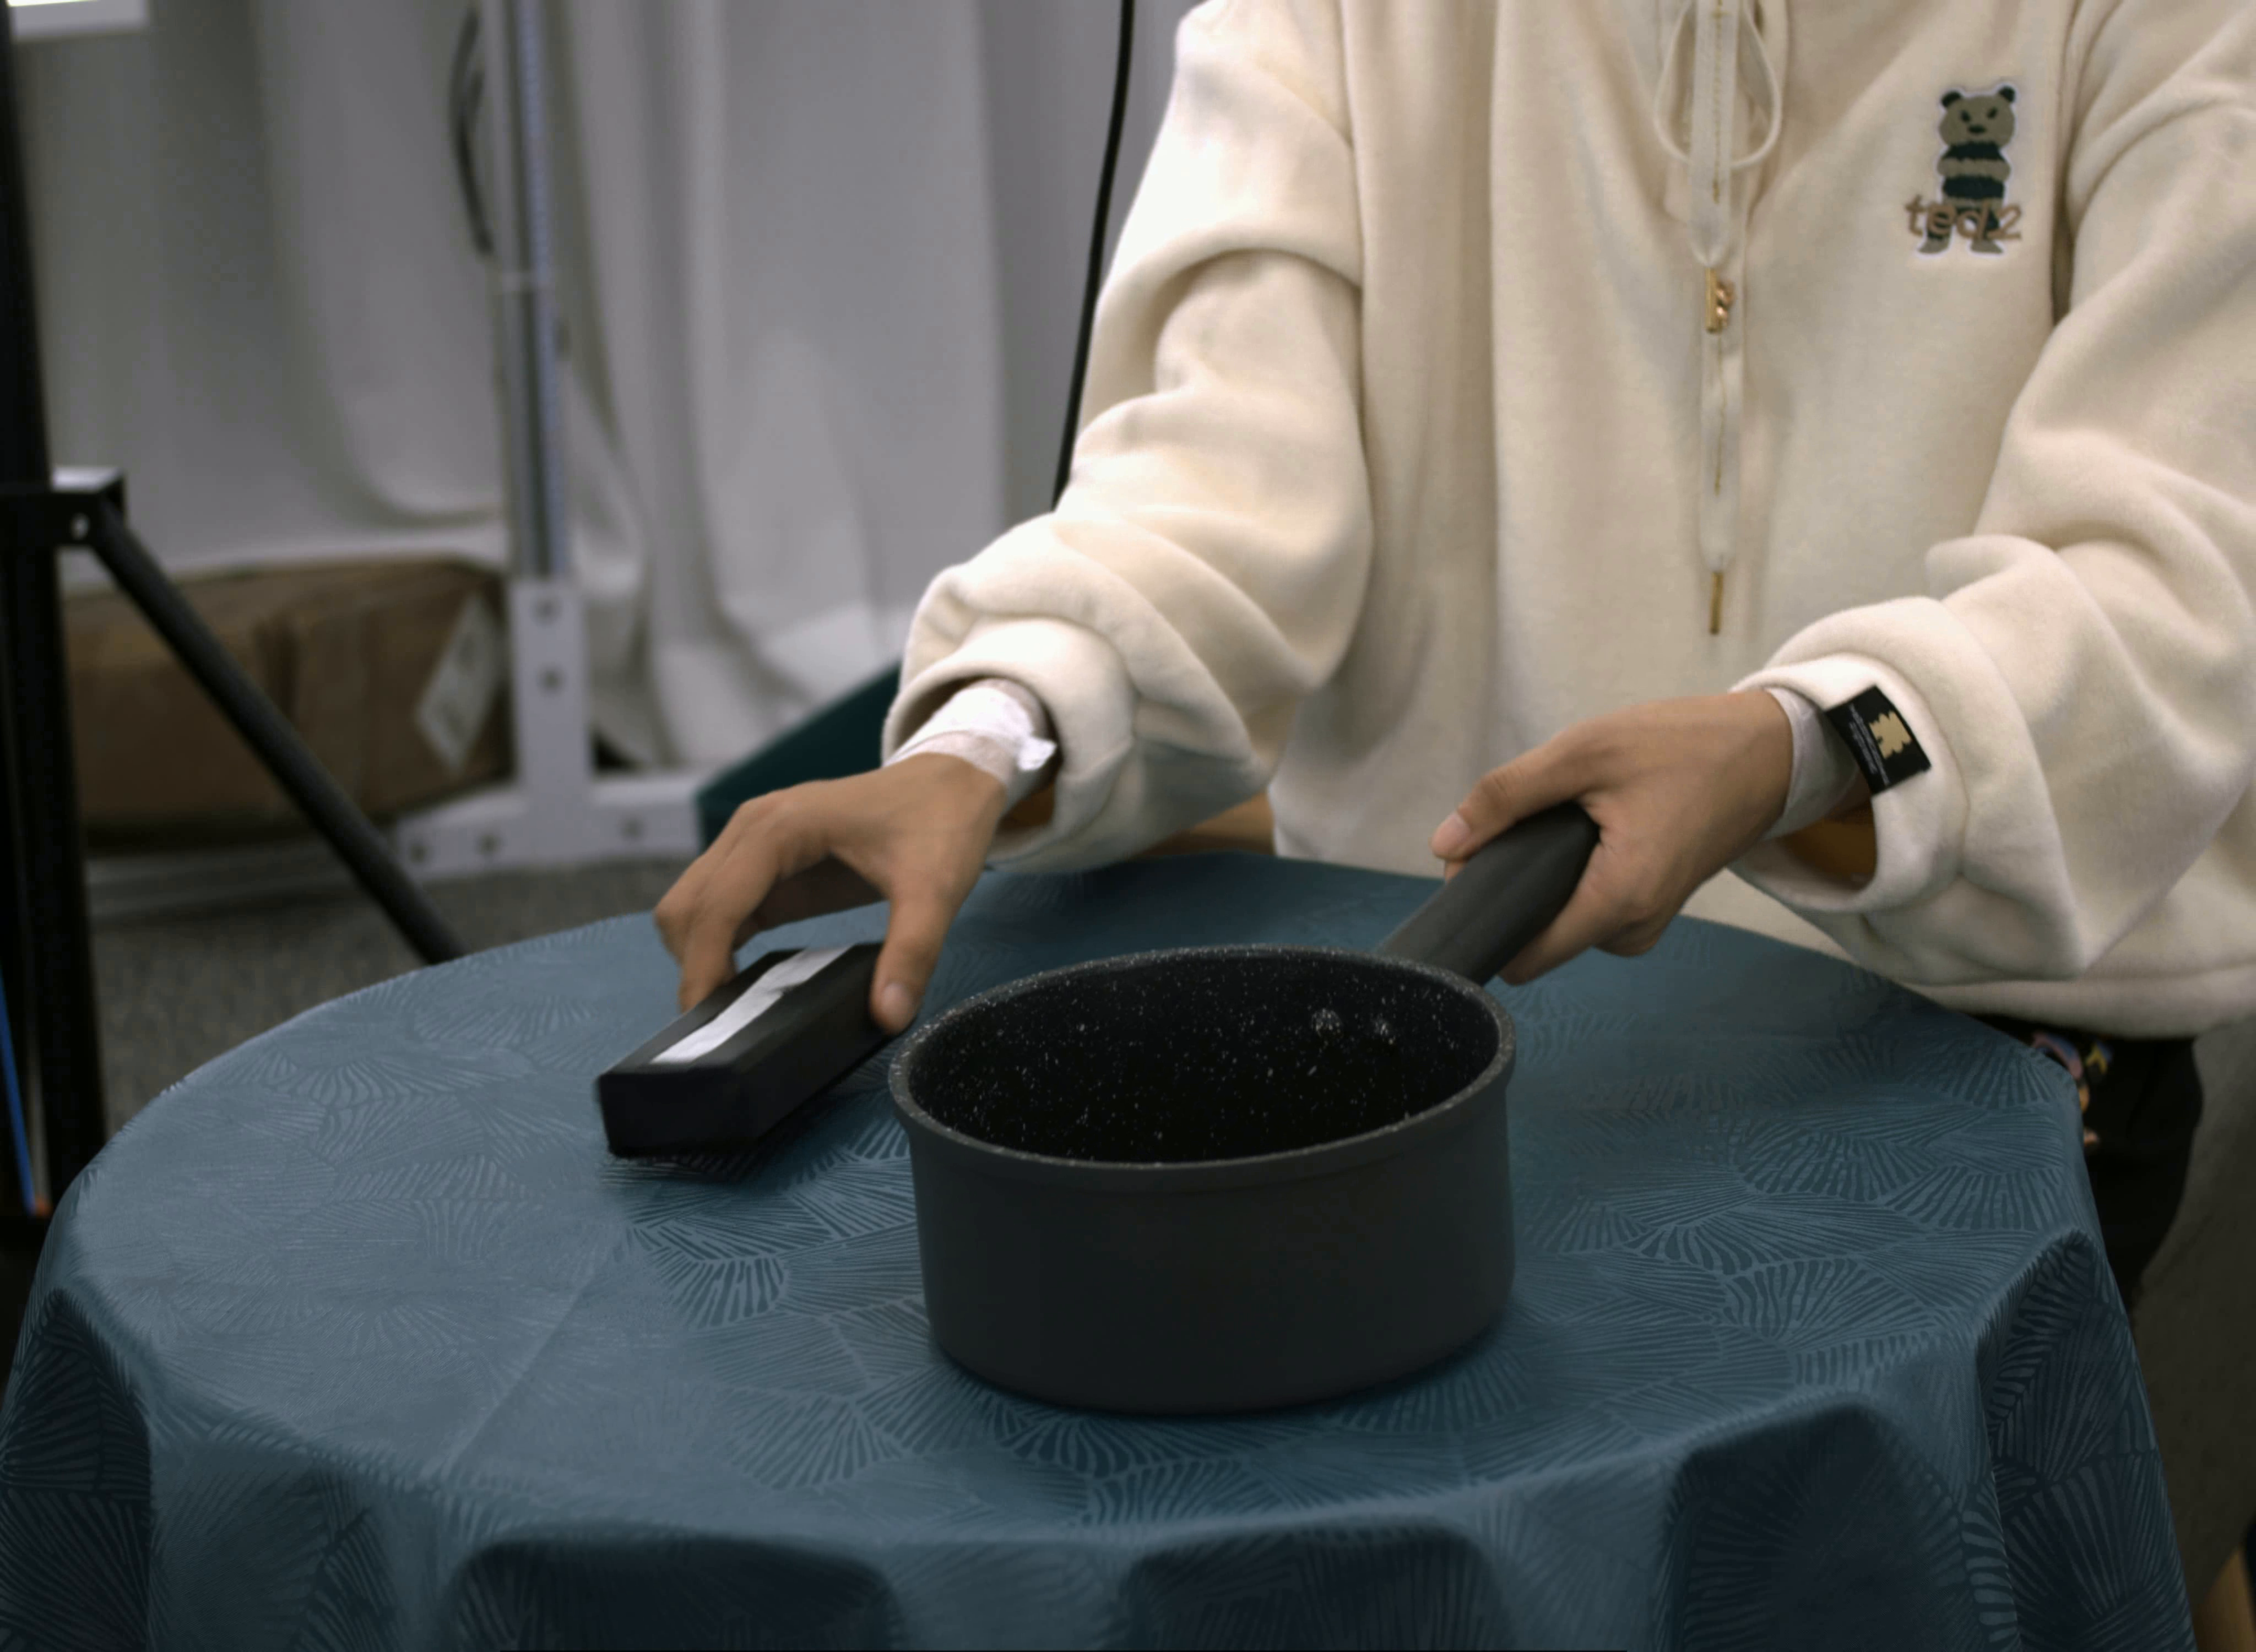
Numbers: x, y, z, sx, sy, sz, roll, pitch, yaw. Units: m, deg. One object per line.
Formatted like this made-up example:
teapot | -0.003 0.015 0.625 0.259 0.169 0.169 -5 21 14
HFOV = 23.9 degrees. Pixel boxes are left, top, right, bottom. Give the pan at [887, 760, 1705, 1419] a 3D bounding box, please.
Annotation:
pan | 0.068 0.070 1.501 0.175 0.086 0.322 9 24 36

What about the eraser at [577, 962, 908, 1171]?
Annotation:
eraser | -0.116 0.073 1.630 0.054 0.030 0.124 -3 14 25
